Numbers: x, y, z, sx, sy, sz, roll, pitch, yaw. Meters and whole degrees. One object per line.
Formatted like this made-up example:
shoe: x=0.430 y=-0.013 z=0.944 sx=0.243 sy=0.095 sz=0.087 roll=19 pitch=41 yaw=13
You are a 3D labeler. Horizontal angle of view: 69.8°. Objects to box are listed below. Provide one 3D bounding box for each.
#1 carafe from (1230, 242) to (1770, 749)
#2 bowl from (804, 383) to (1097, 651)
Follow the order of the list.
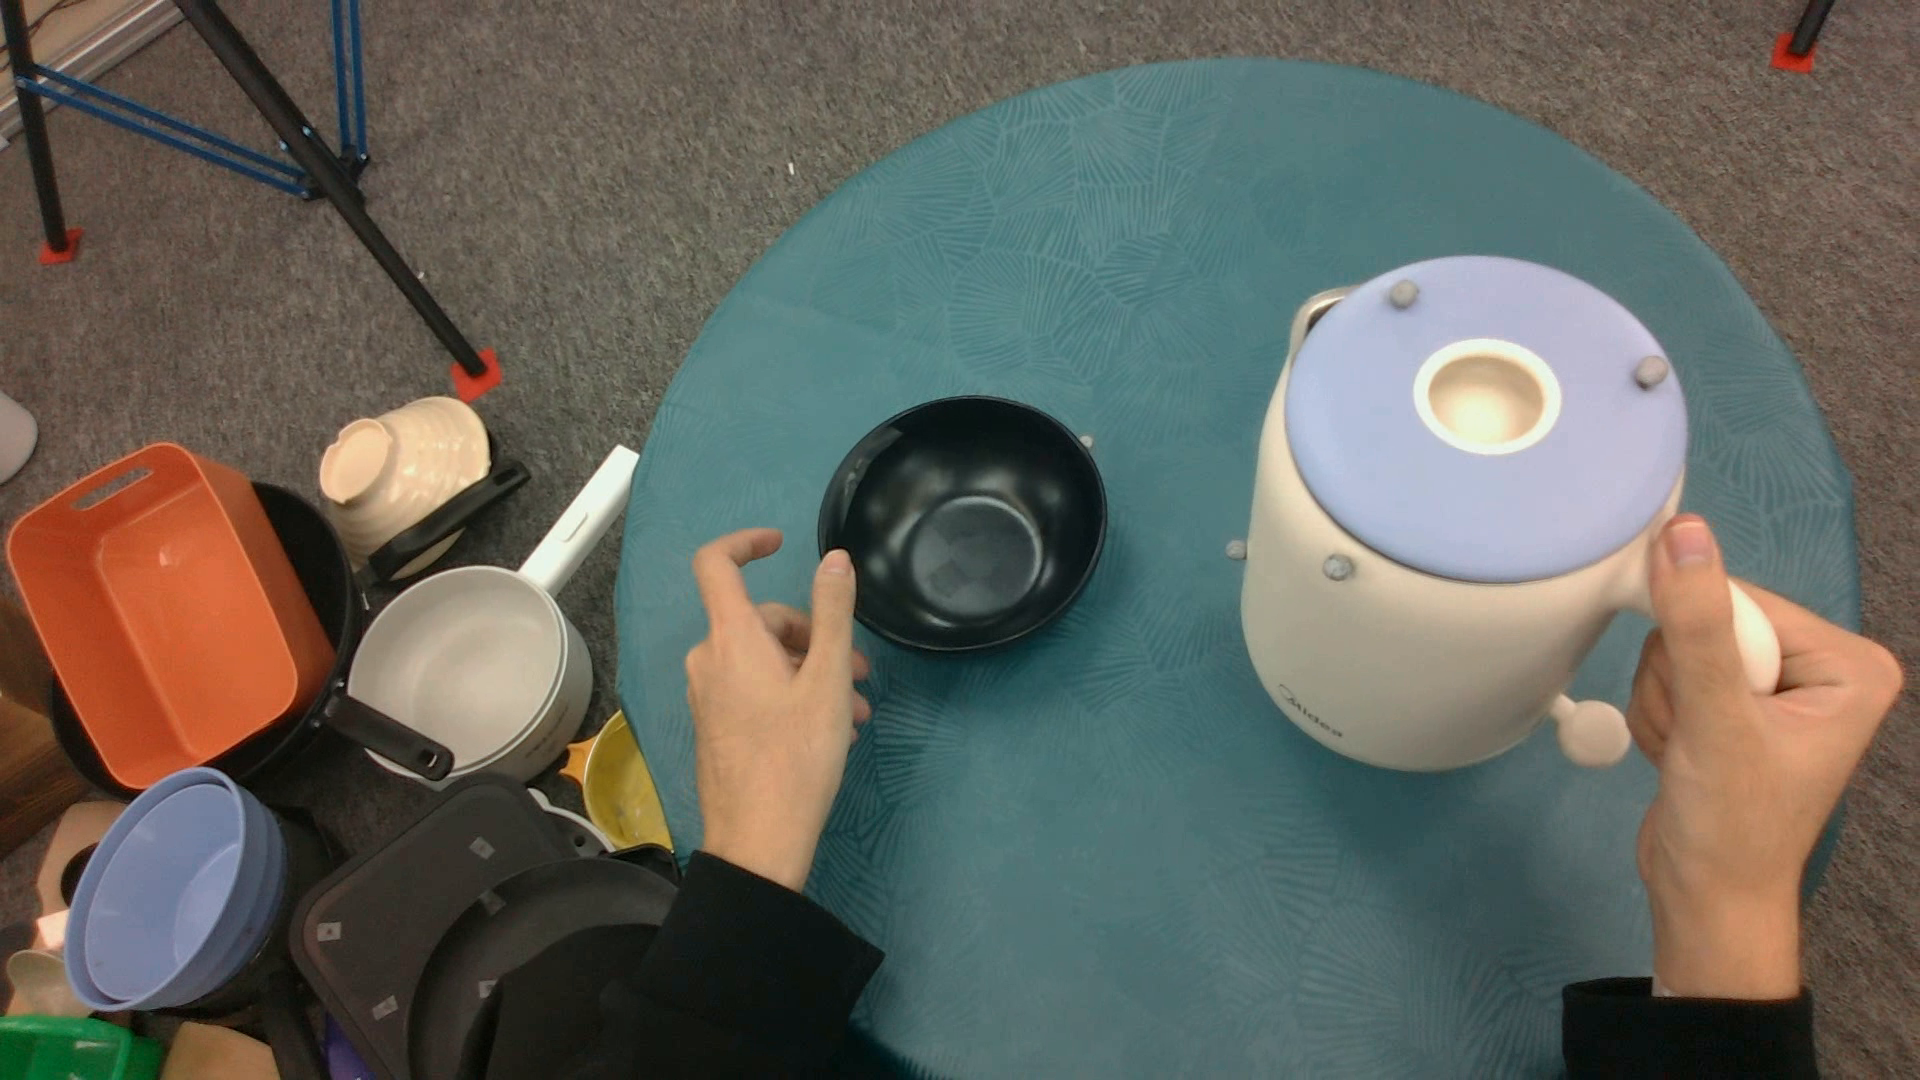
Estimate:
carafe: x=0.187 y=0.005 z=0.496 sx=0.191 sy=0.182 sz=0.132 roll=38 pitch=74 yaw=21
bowl: x=-0.003 y=-0.005 z=0.667 sx=0.140 sy=0.049 sz=0.140 roll=-3 pitch=63 yaw=6
